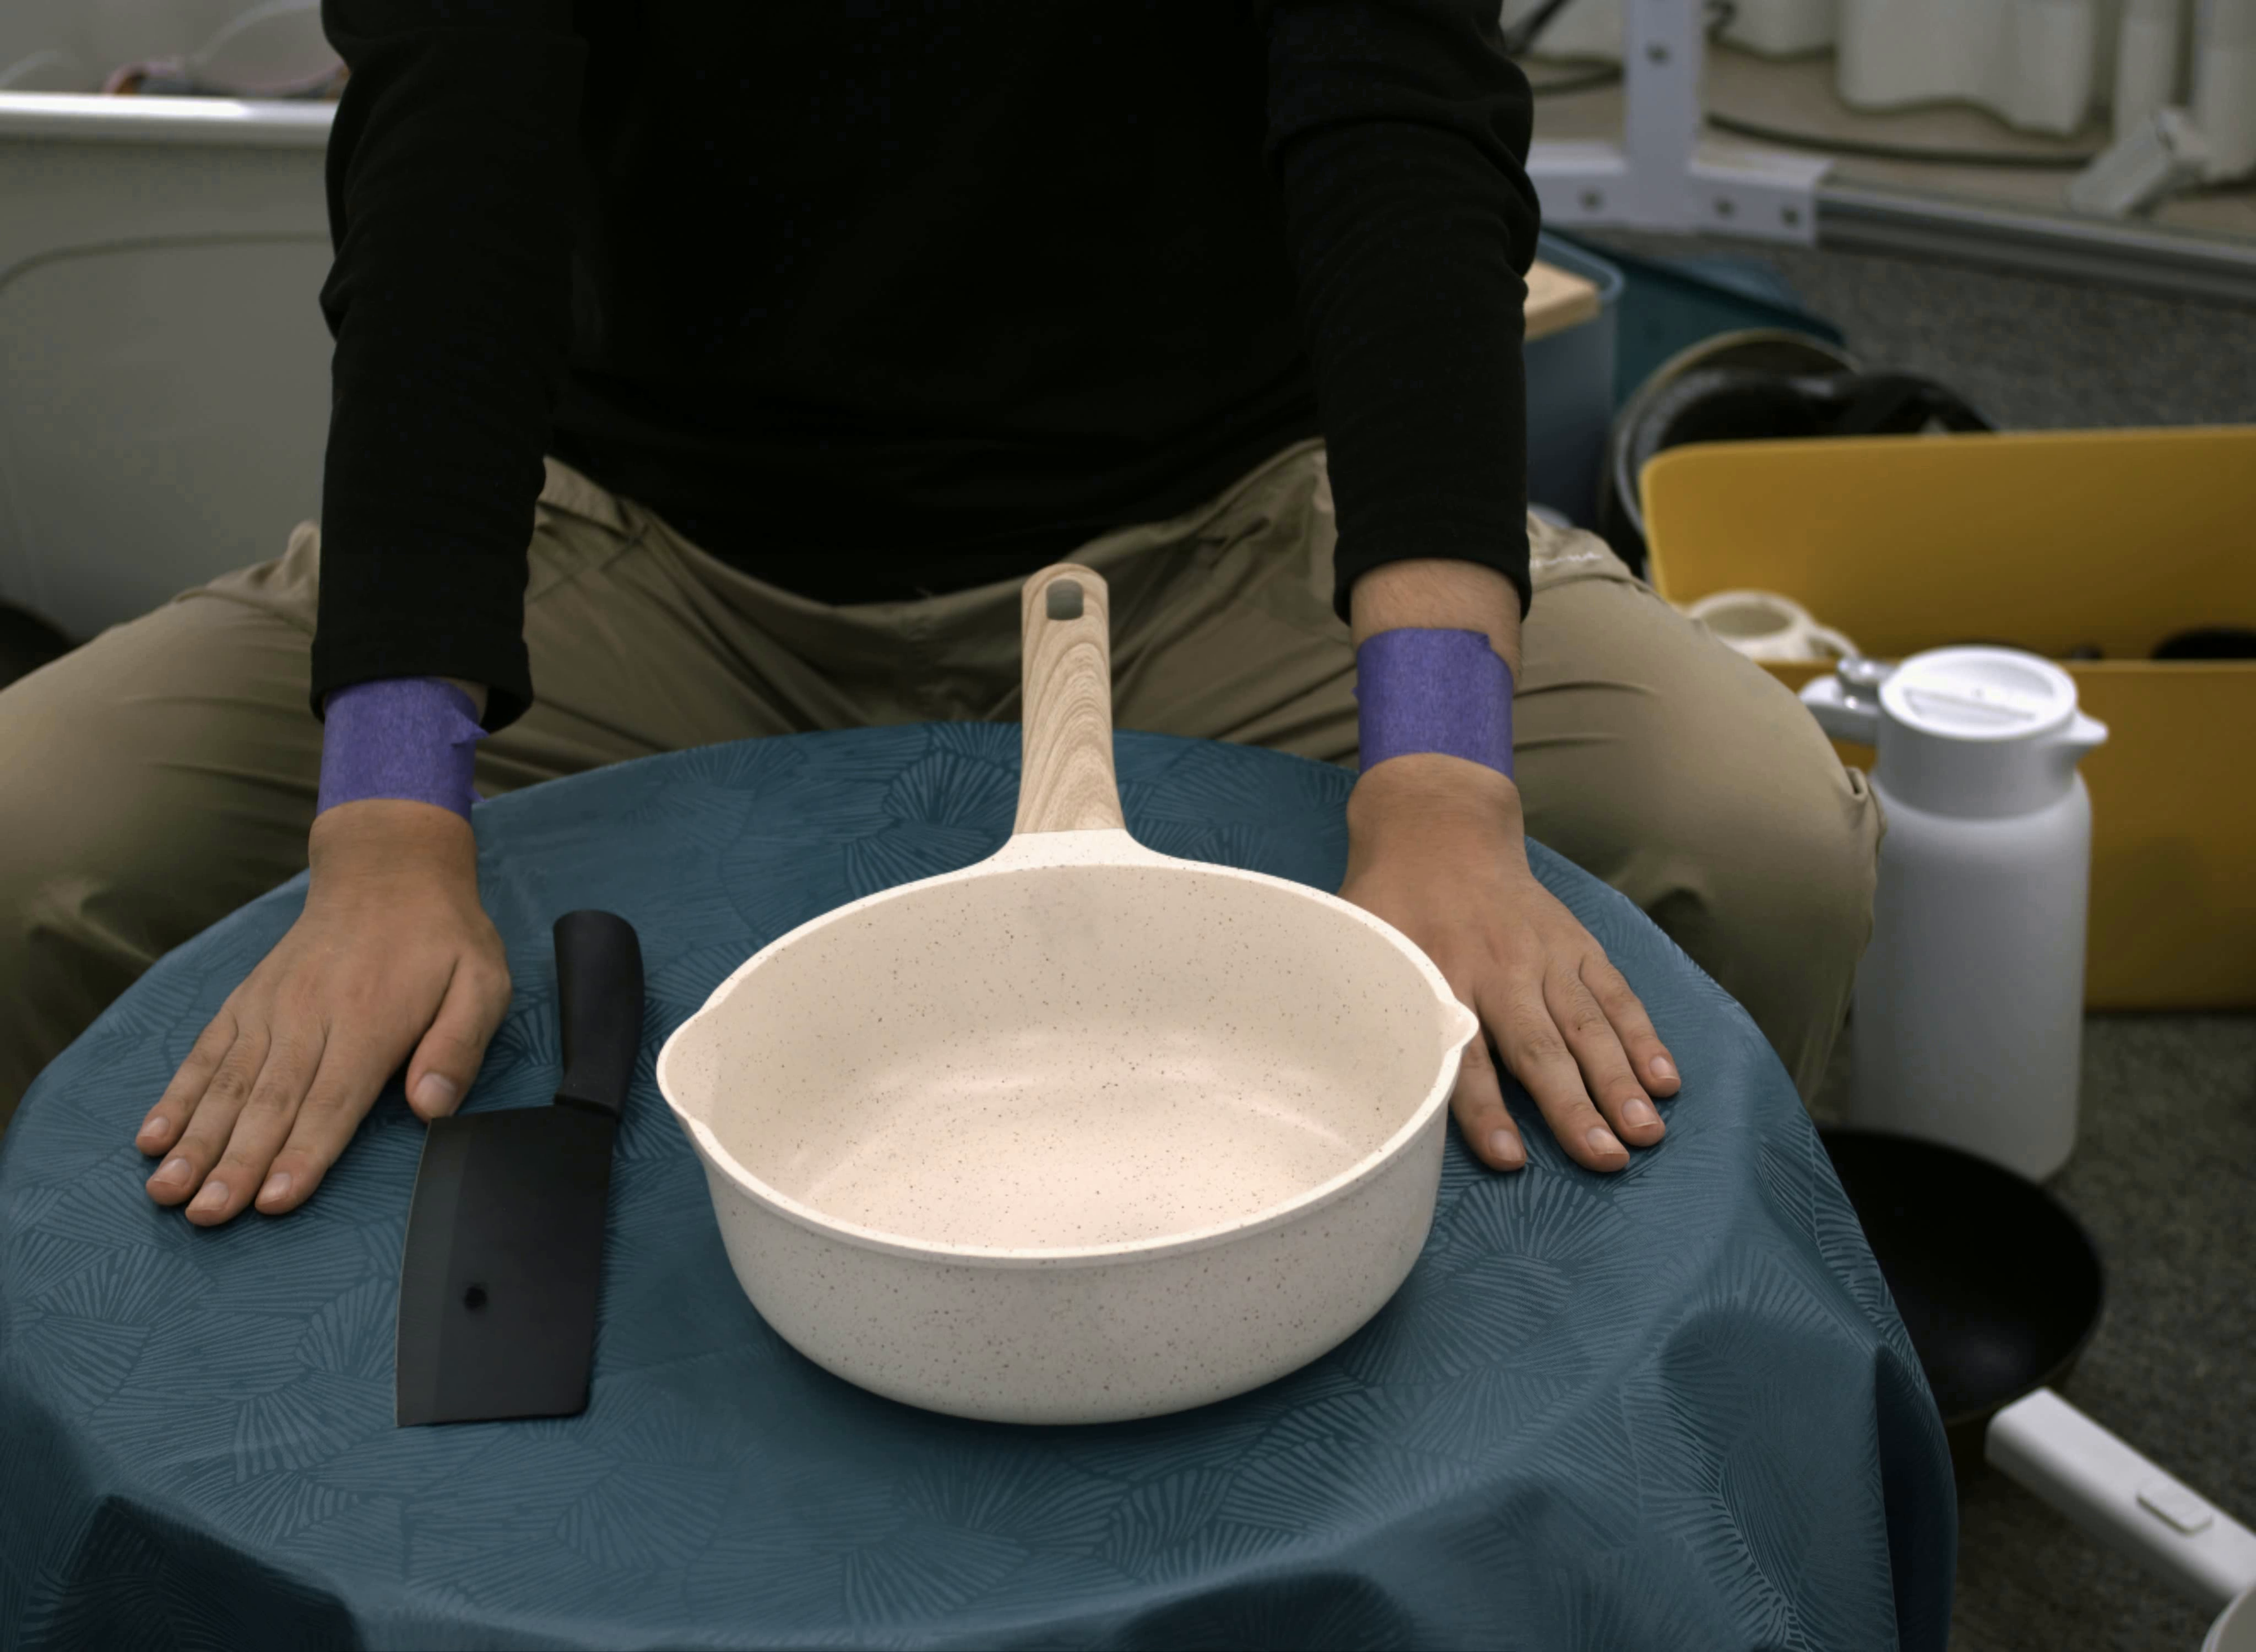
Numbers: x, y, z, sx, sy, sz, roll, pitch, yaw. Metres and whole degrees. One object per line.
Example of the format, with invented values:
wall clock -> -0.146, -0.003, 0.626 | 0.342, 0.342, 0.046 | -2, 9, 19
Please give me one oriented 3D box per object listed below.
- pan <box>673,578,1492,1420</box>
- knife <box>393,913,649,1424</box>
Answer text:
pan -> -0.014, 0.054, 1.885 | 0.262, 0.101, 0.441 | -4, 27, 0
knife -> -0.199, 0.112, 1.882 | 0.080, 0.020, 0.307 | -2, 29, 5
